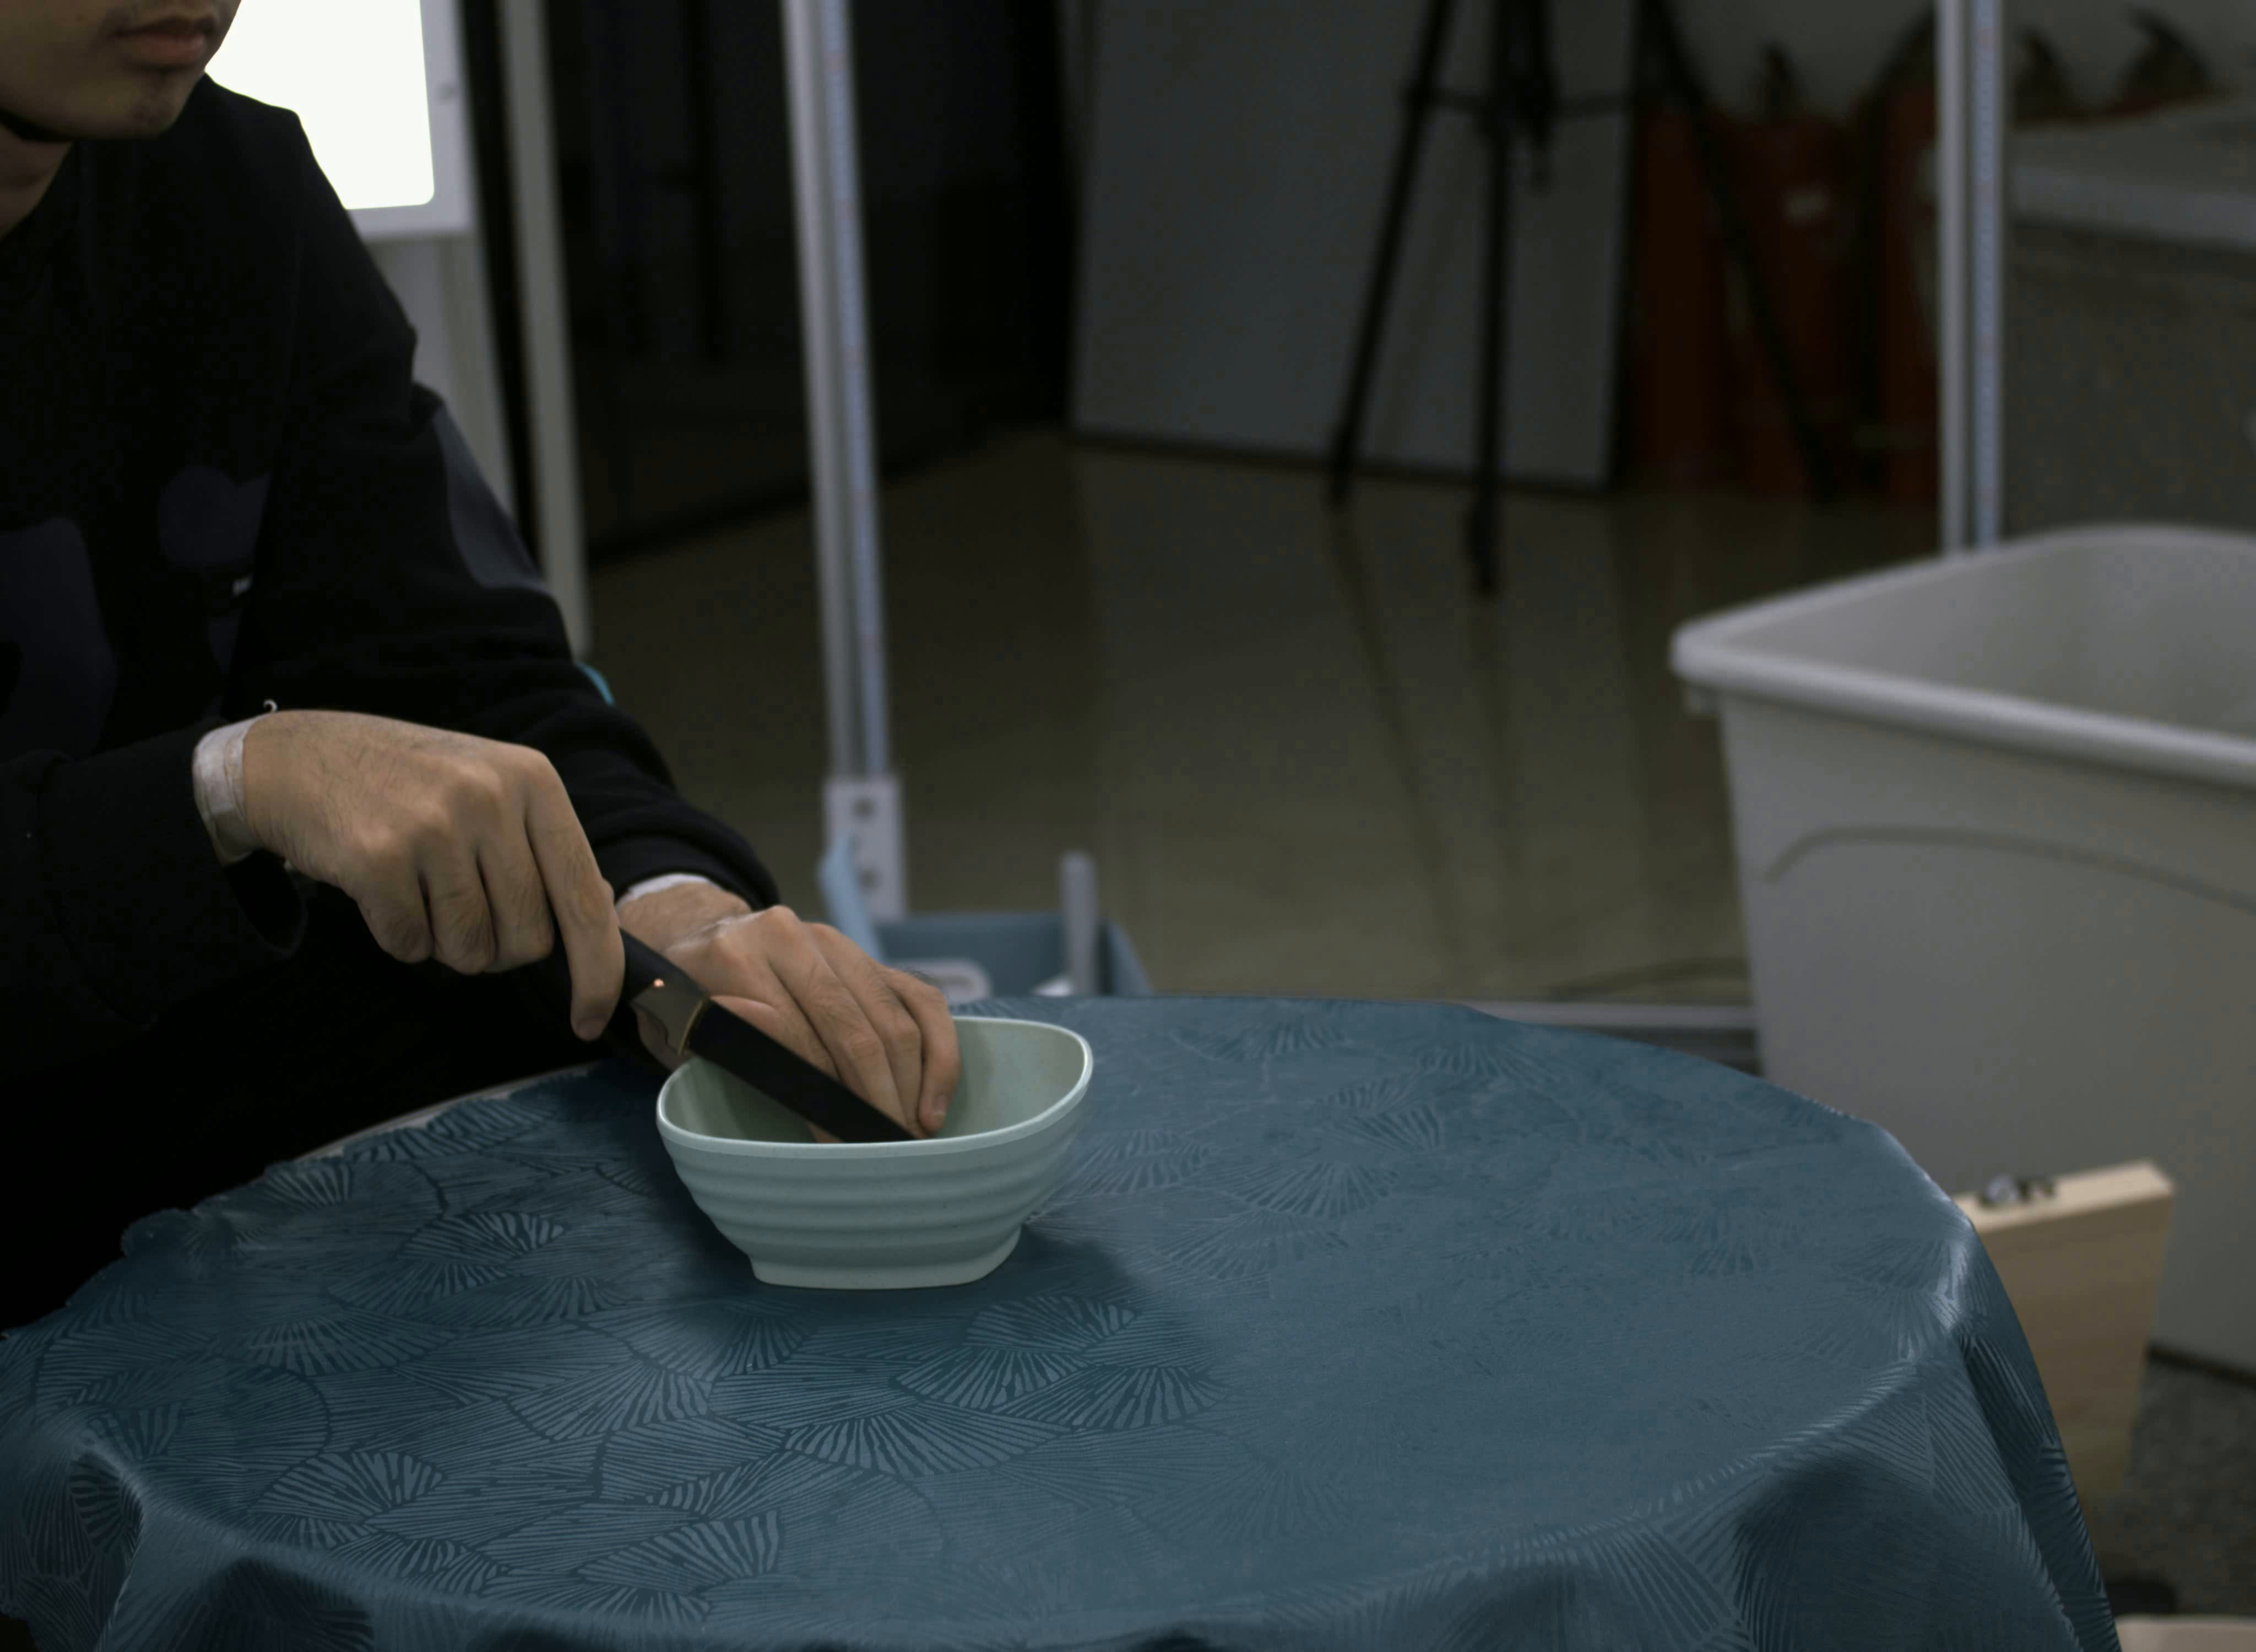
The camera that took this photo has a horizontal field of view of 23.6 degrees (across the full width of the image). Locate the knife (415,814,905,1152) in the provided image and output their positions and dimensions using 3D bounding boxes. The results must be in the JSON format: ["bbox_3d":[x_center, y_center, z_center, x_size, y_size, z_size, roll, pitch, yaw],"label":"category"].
[{"bbox_3d":[-0.135,0.064,1.724,0.225,0.026,0.017,34,28,8],"label":"knife"}]

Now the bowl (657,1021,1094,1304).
[{"bbox_3d":[-0.078,0.111,1.725,0.149,0.059,0.152,-5,15,0],"label":"bowl"}]
